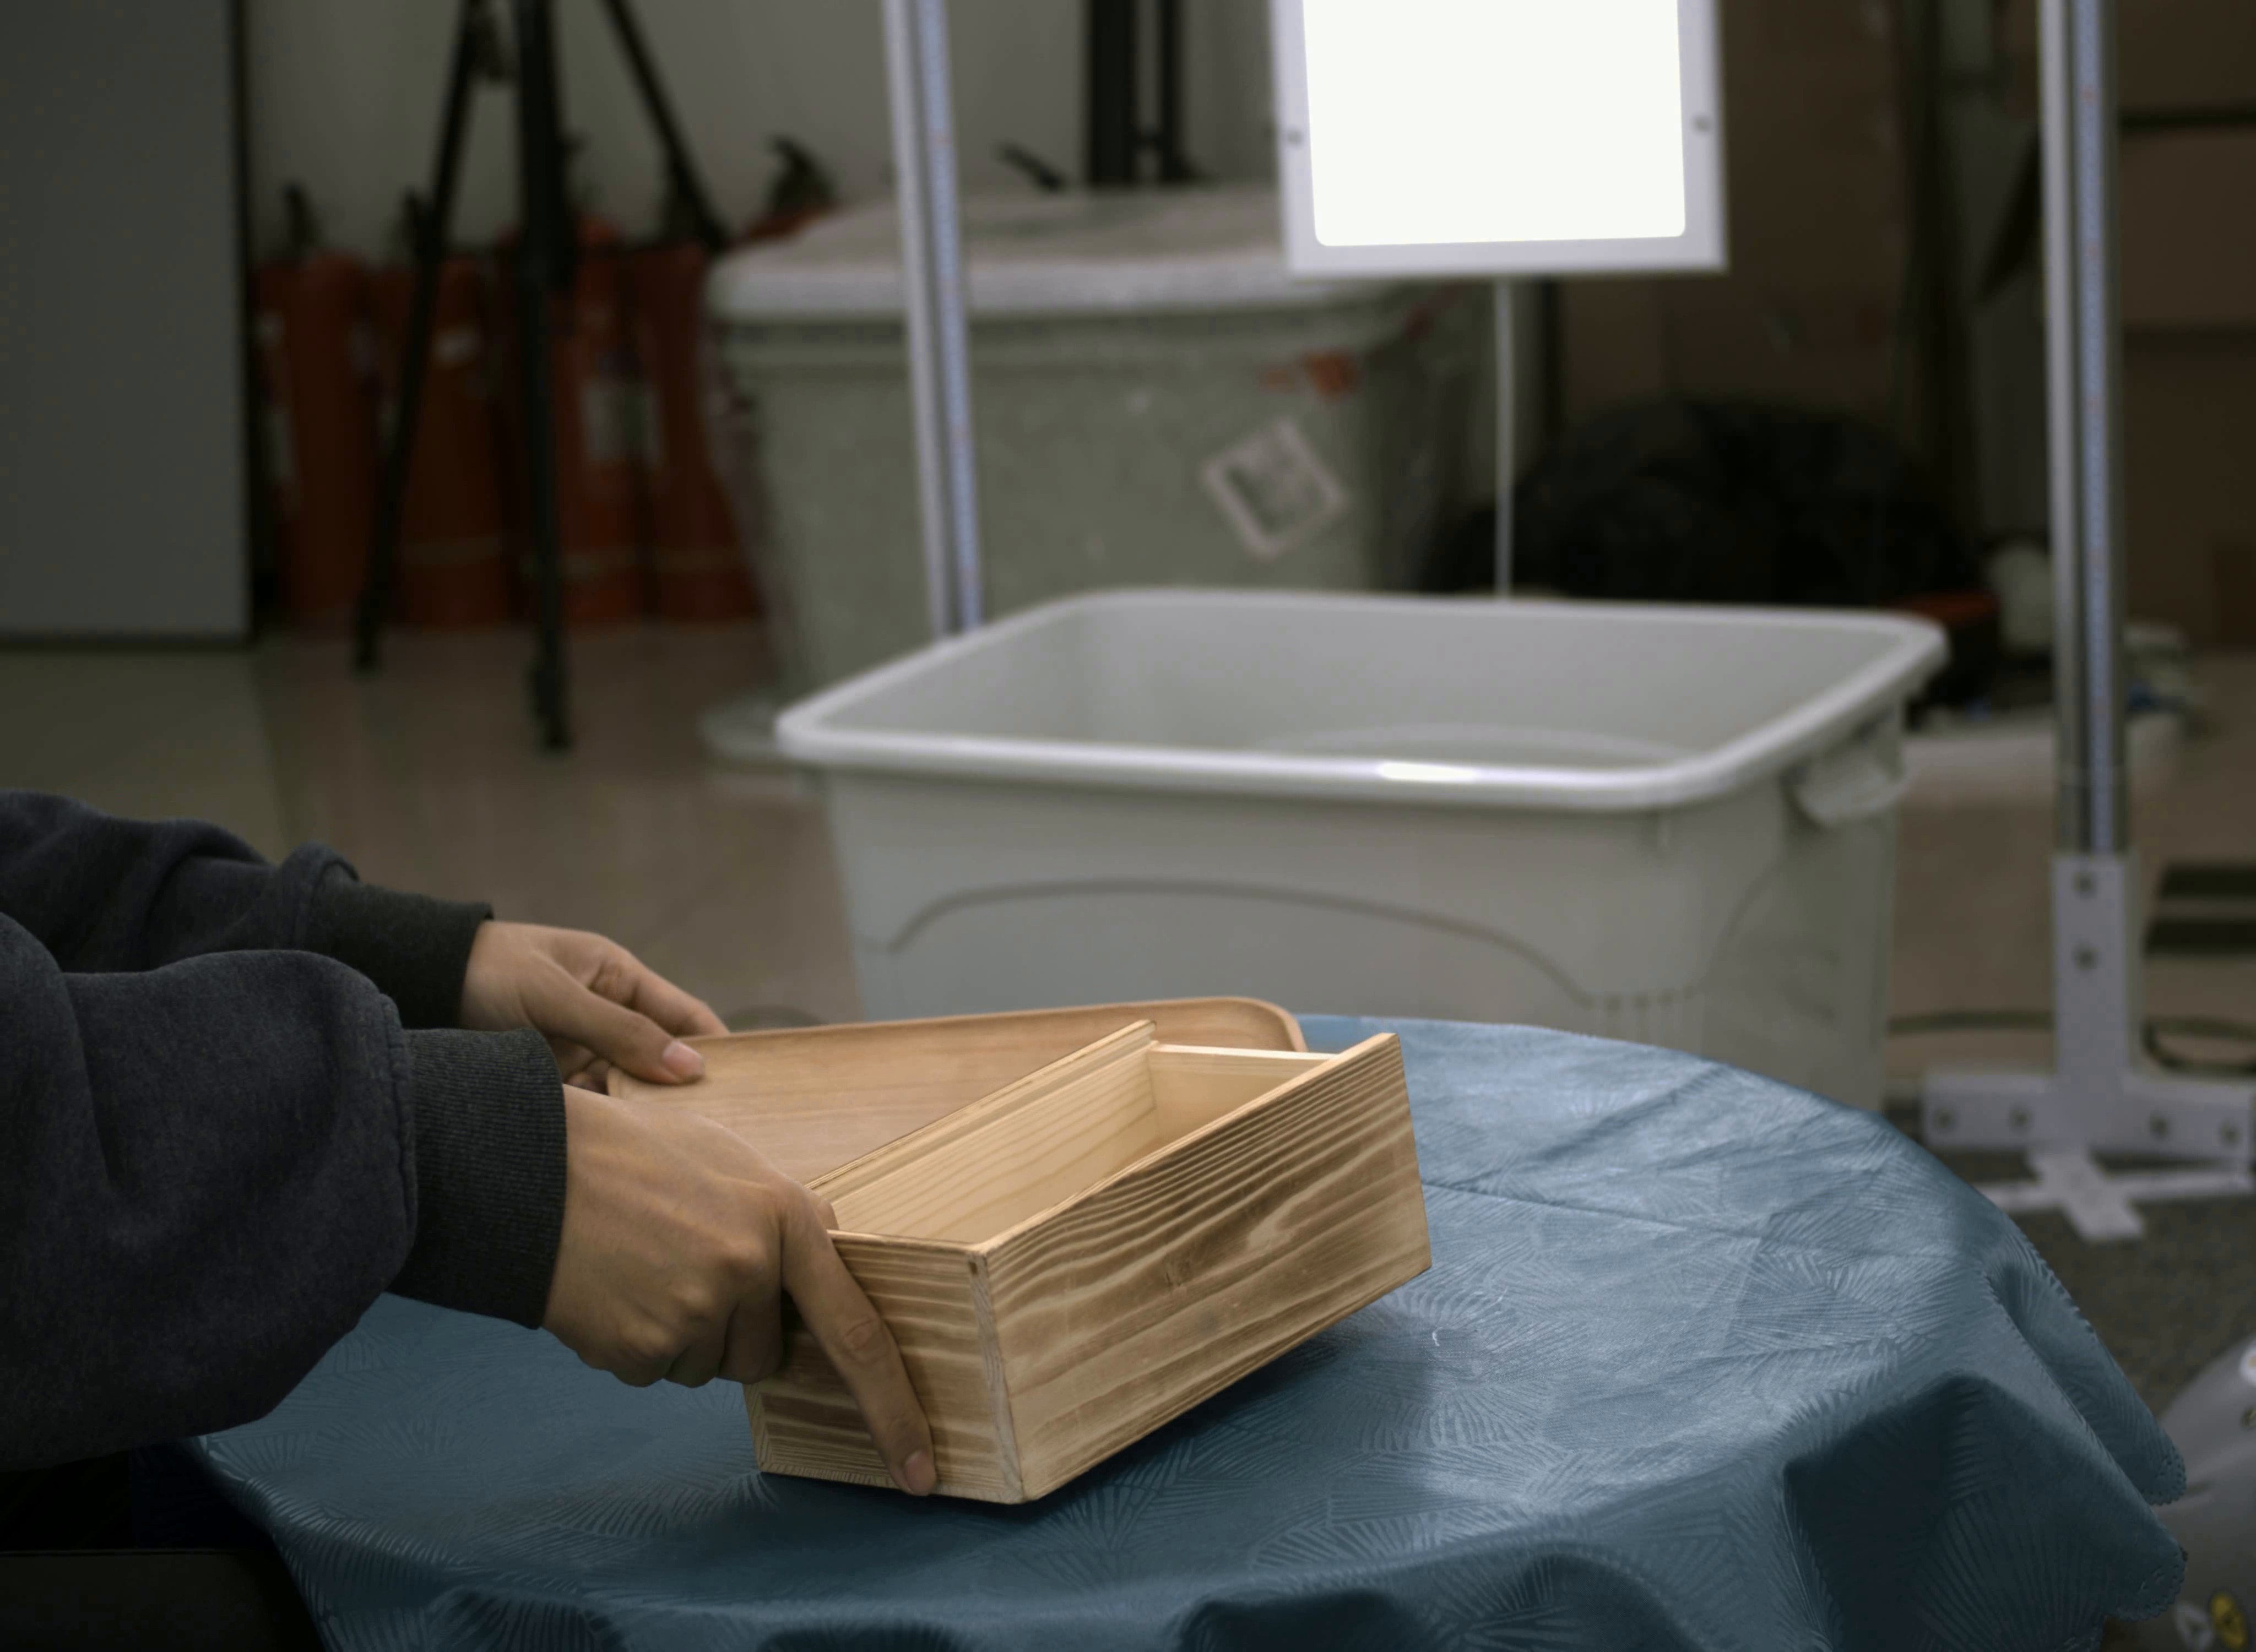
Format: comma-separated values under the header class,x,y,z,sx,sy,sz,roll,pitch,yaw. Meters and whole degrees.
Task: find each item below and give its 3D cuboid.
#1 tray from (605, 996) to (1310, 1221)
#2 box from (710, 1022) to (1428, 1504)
class,x,y,z,sx,sy,sz,roll,pitch,yaw
tray,-0.057,0.099,1.937,0.249,0.023,0.131,-4,21,-5
box,-0.014,0.130,1.692,0.110,0.080,0.206,1,17,40
